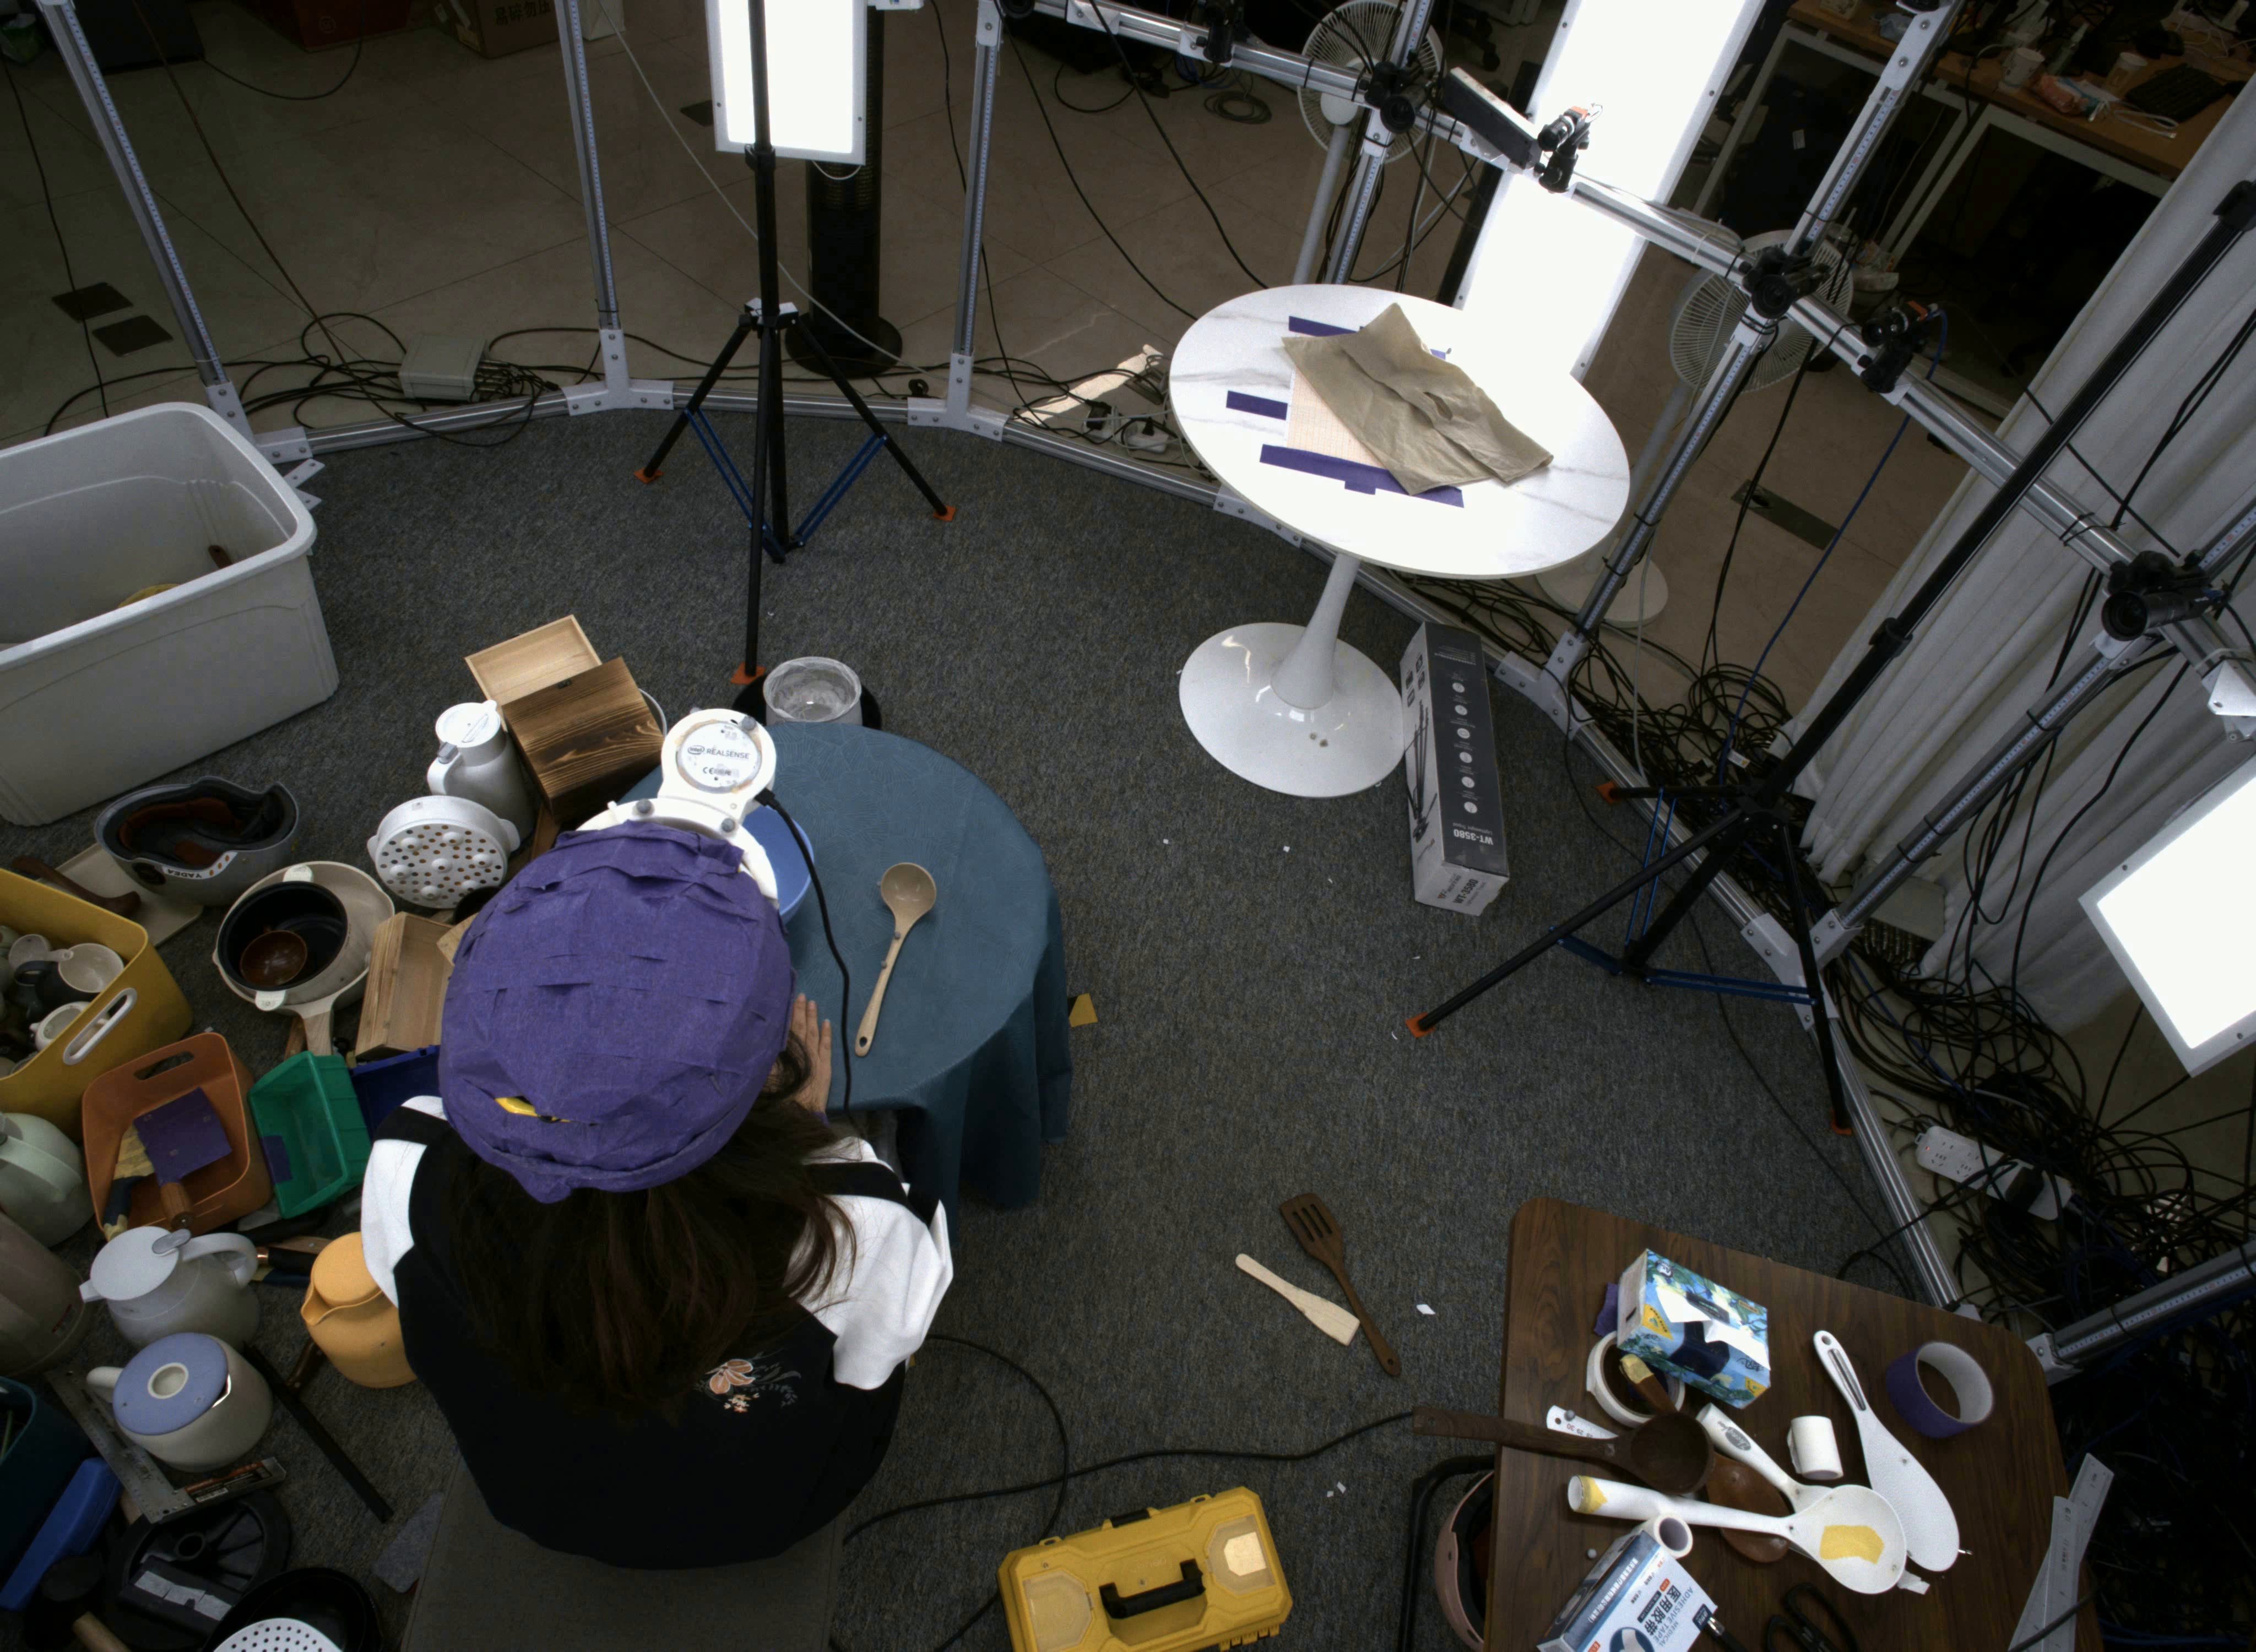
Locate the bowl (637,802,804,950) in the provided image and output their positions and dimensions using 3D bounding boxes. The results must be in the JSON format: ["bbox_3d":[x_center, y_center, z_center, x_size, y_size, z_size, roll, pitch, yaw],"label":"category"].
[{"bbox_3d":[-0.498,0.075,1.584,0.196,0.097,0.193,9,51,-10],"label":"bowl"}]

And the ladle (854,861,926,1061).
[{"bbox_3d":[-0.303,0.154,1.588,0.071,0.075,0.250,7,52,2],"label":"ladle"}]
